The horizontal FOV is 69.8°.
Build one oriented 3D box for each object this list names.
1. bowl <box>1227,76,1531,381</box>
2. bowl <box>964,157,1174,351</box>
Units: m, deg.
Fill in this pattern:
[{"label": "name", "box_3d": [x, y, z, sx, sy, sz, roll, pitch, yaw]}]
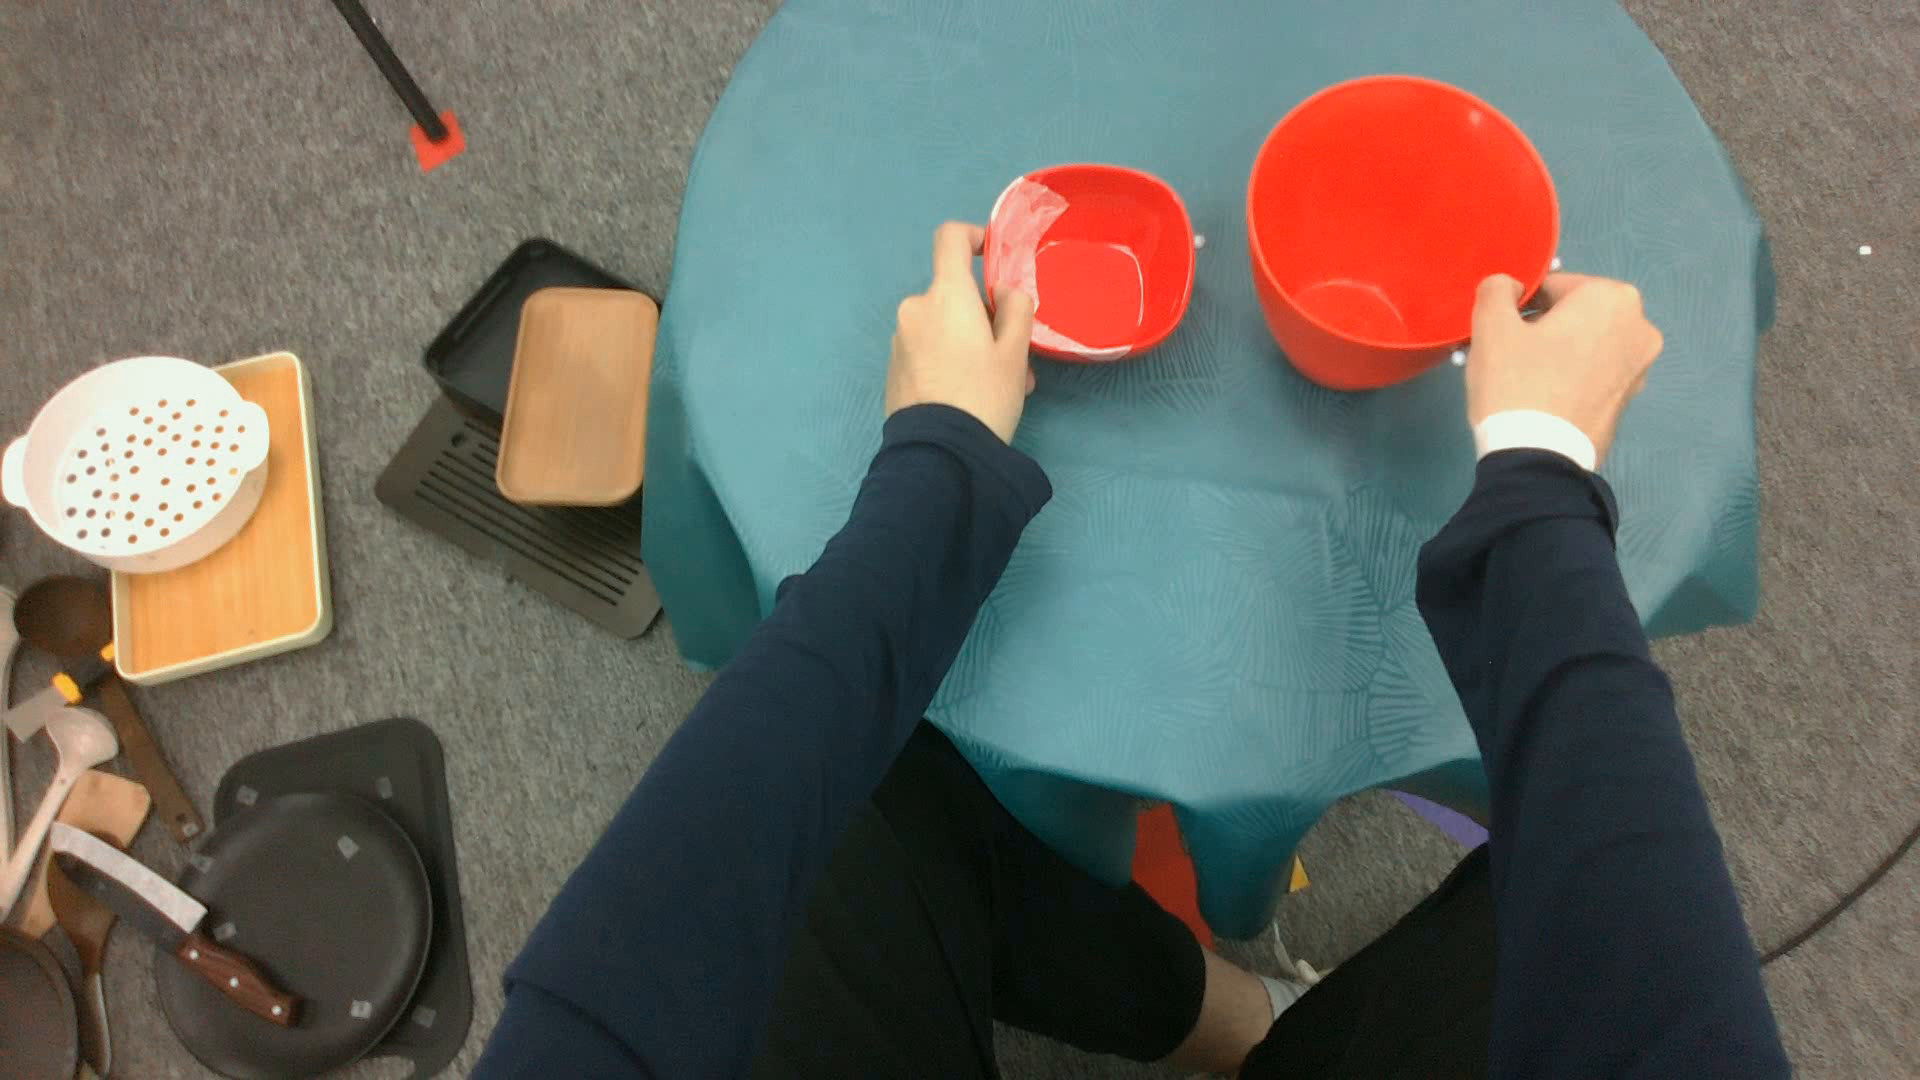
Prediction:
[{"label": "bowl", "box_3d": [0.204, -0.147, 0.710, 0.148, 0.104, 0.148, 1, 63, -2]}, {"label": "bowl", "box_3d": [0.057, -0.145, 0.741, 0.119, 0.051, 0.119, 0, 71, 0]}]
